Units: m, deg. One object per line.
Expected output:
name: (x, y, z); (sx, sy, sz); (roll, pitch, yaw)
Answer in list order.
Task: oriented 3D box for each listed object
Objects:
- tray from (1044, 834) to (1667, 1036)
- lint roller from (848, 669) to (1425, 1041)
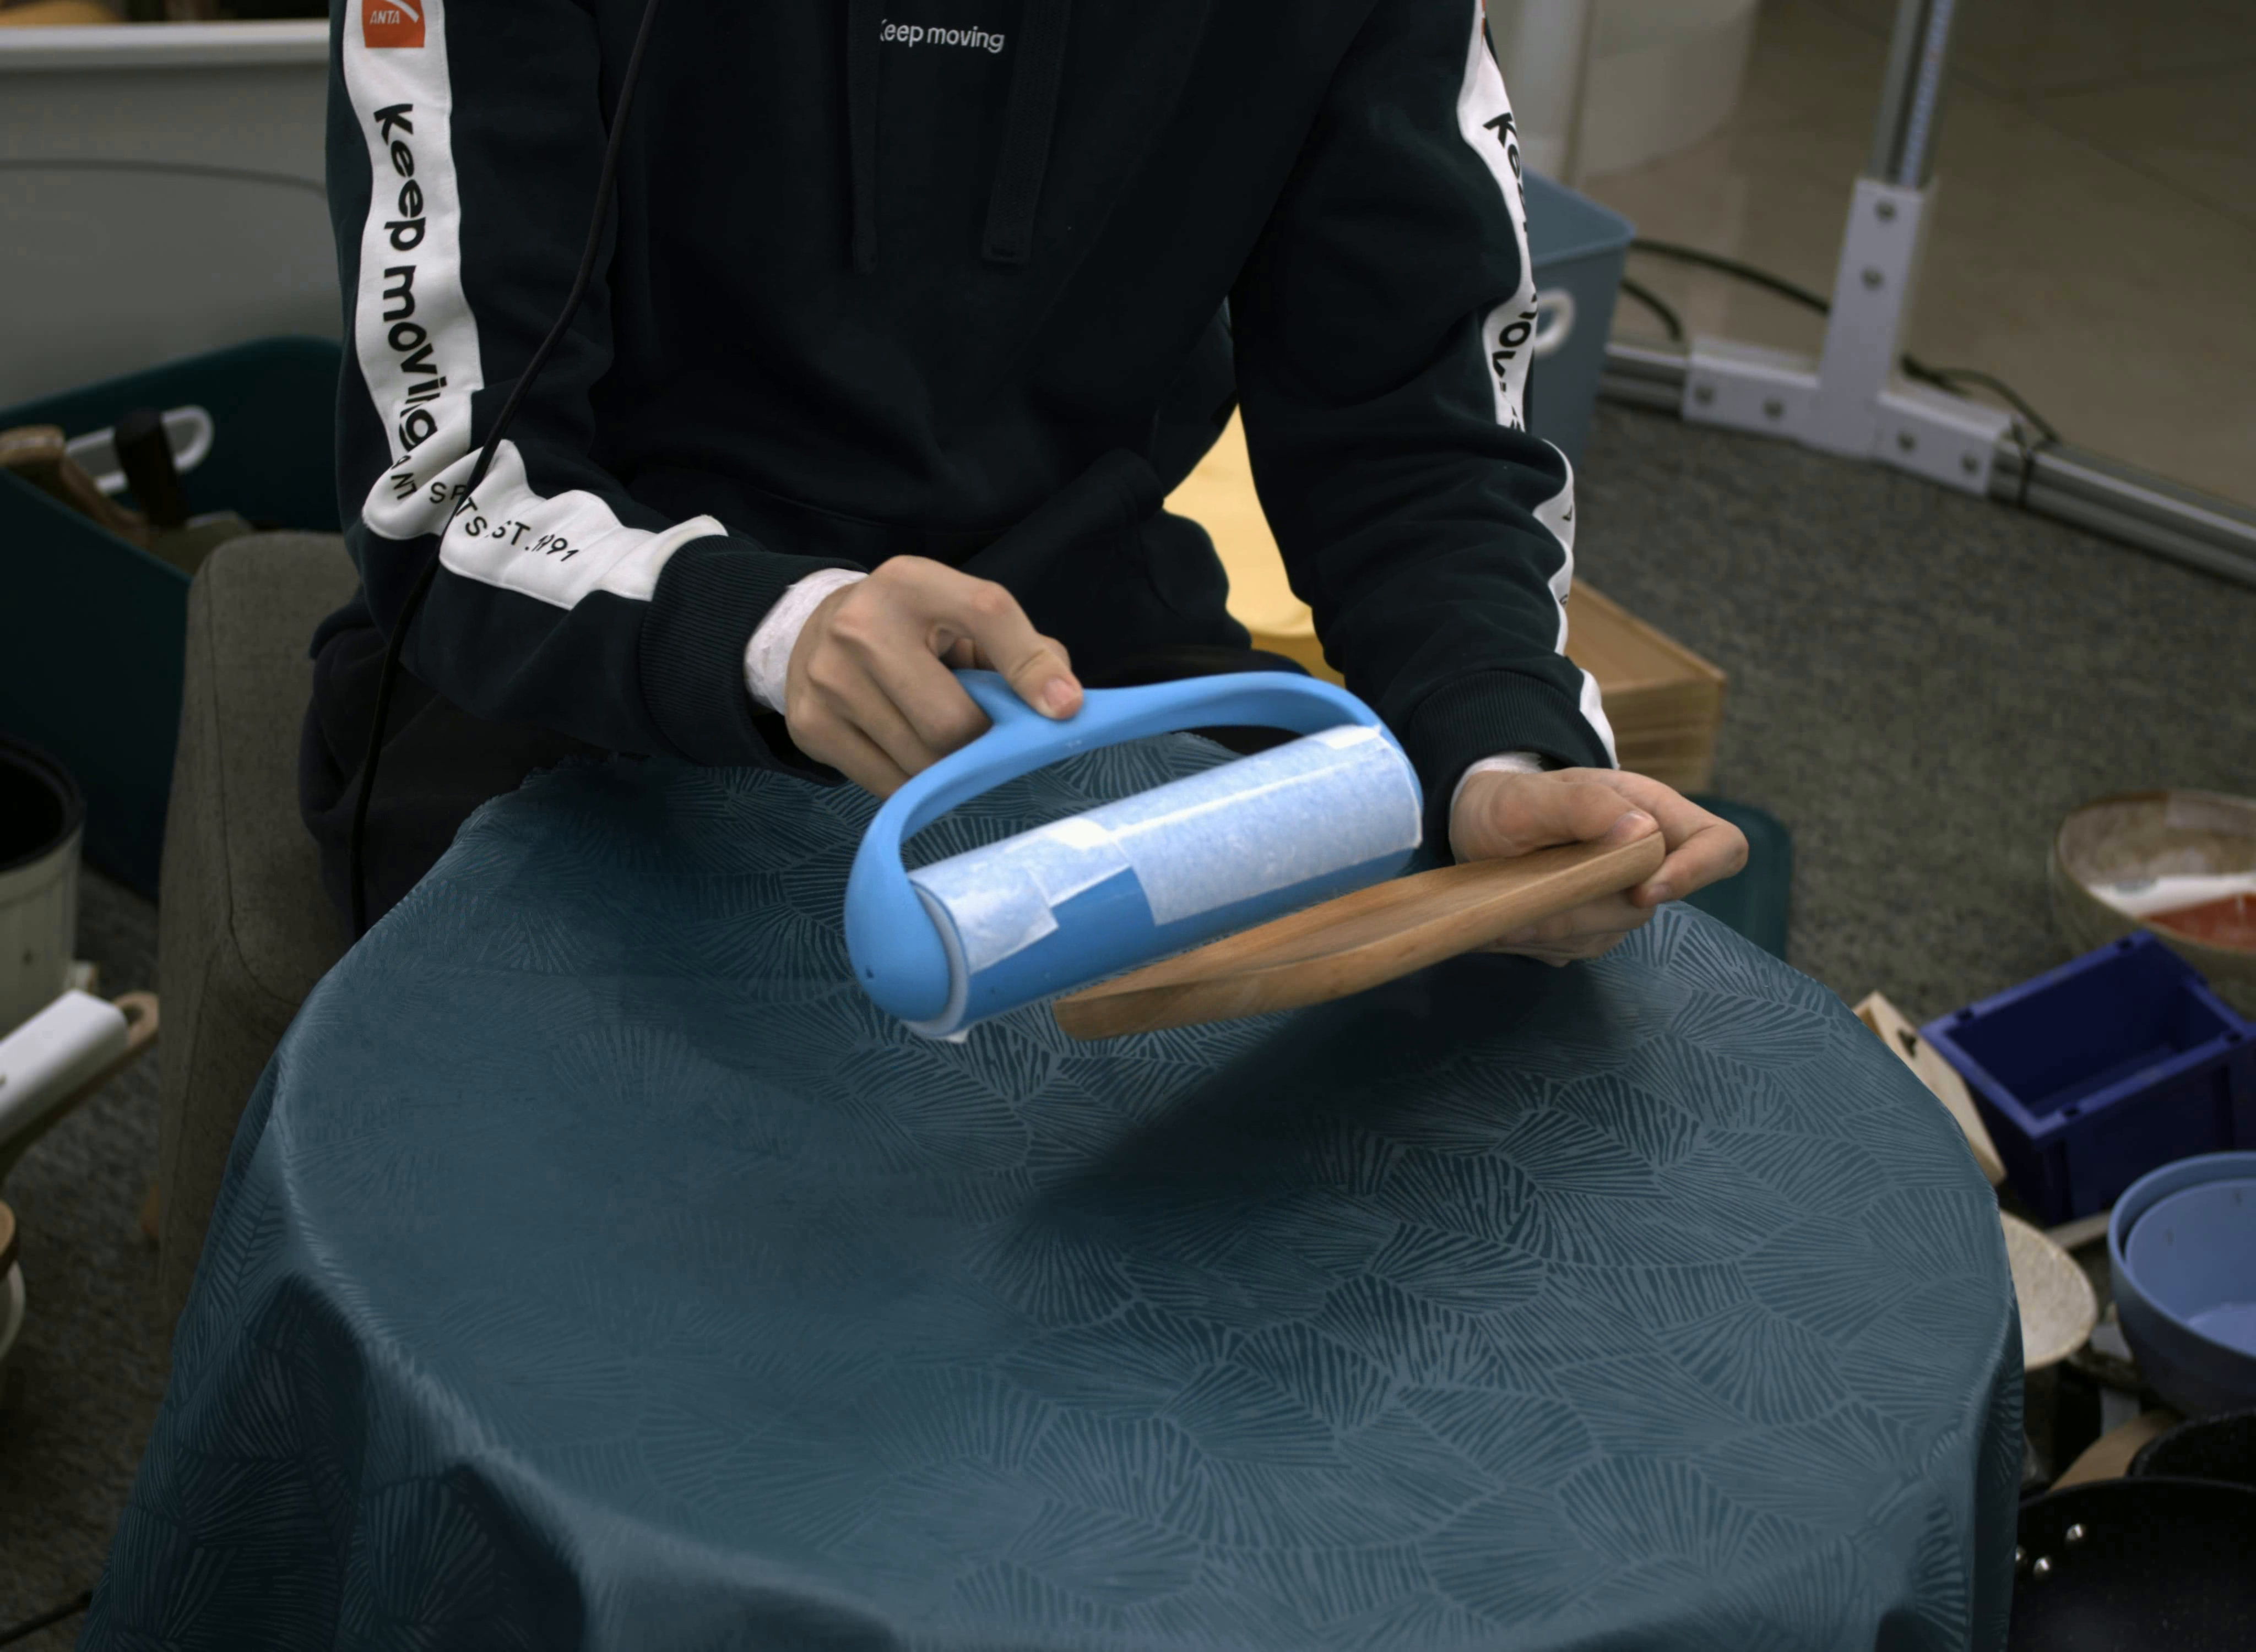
tray: (0.083, 0.037, 1.832); (0.131, 0.023, 0.249); (-14, 2, 36)
lint roller: (-0.032, -0.014, 1.766); (0.228, 0.067, 0.182); (-23, 44, -36)
